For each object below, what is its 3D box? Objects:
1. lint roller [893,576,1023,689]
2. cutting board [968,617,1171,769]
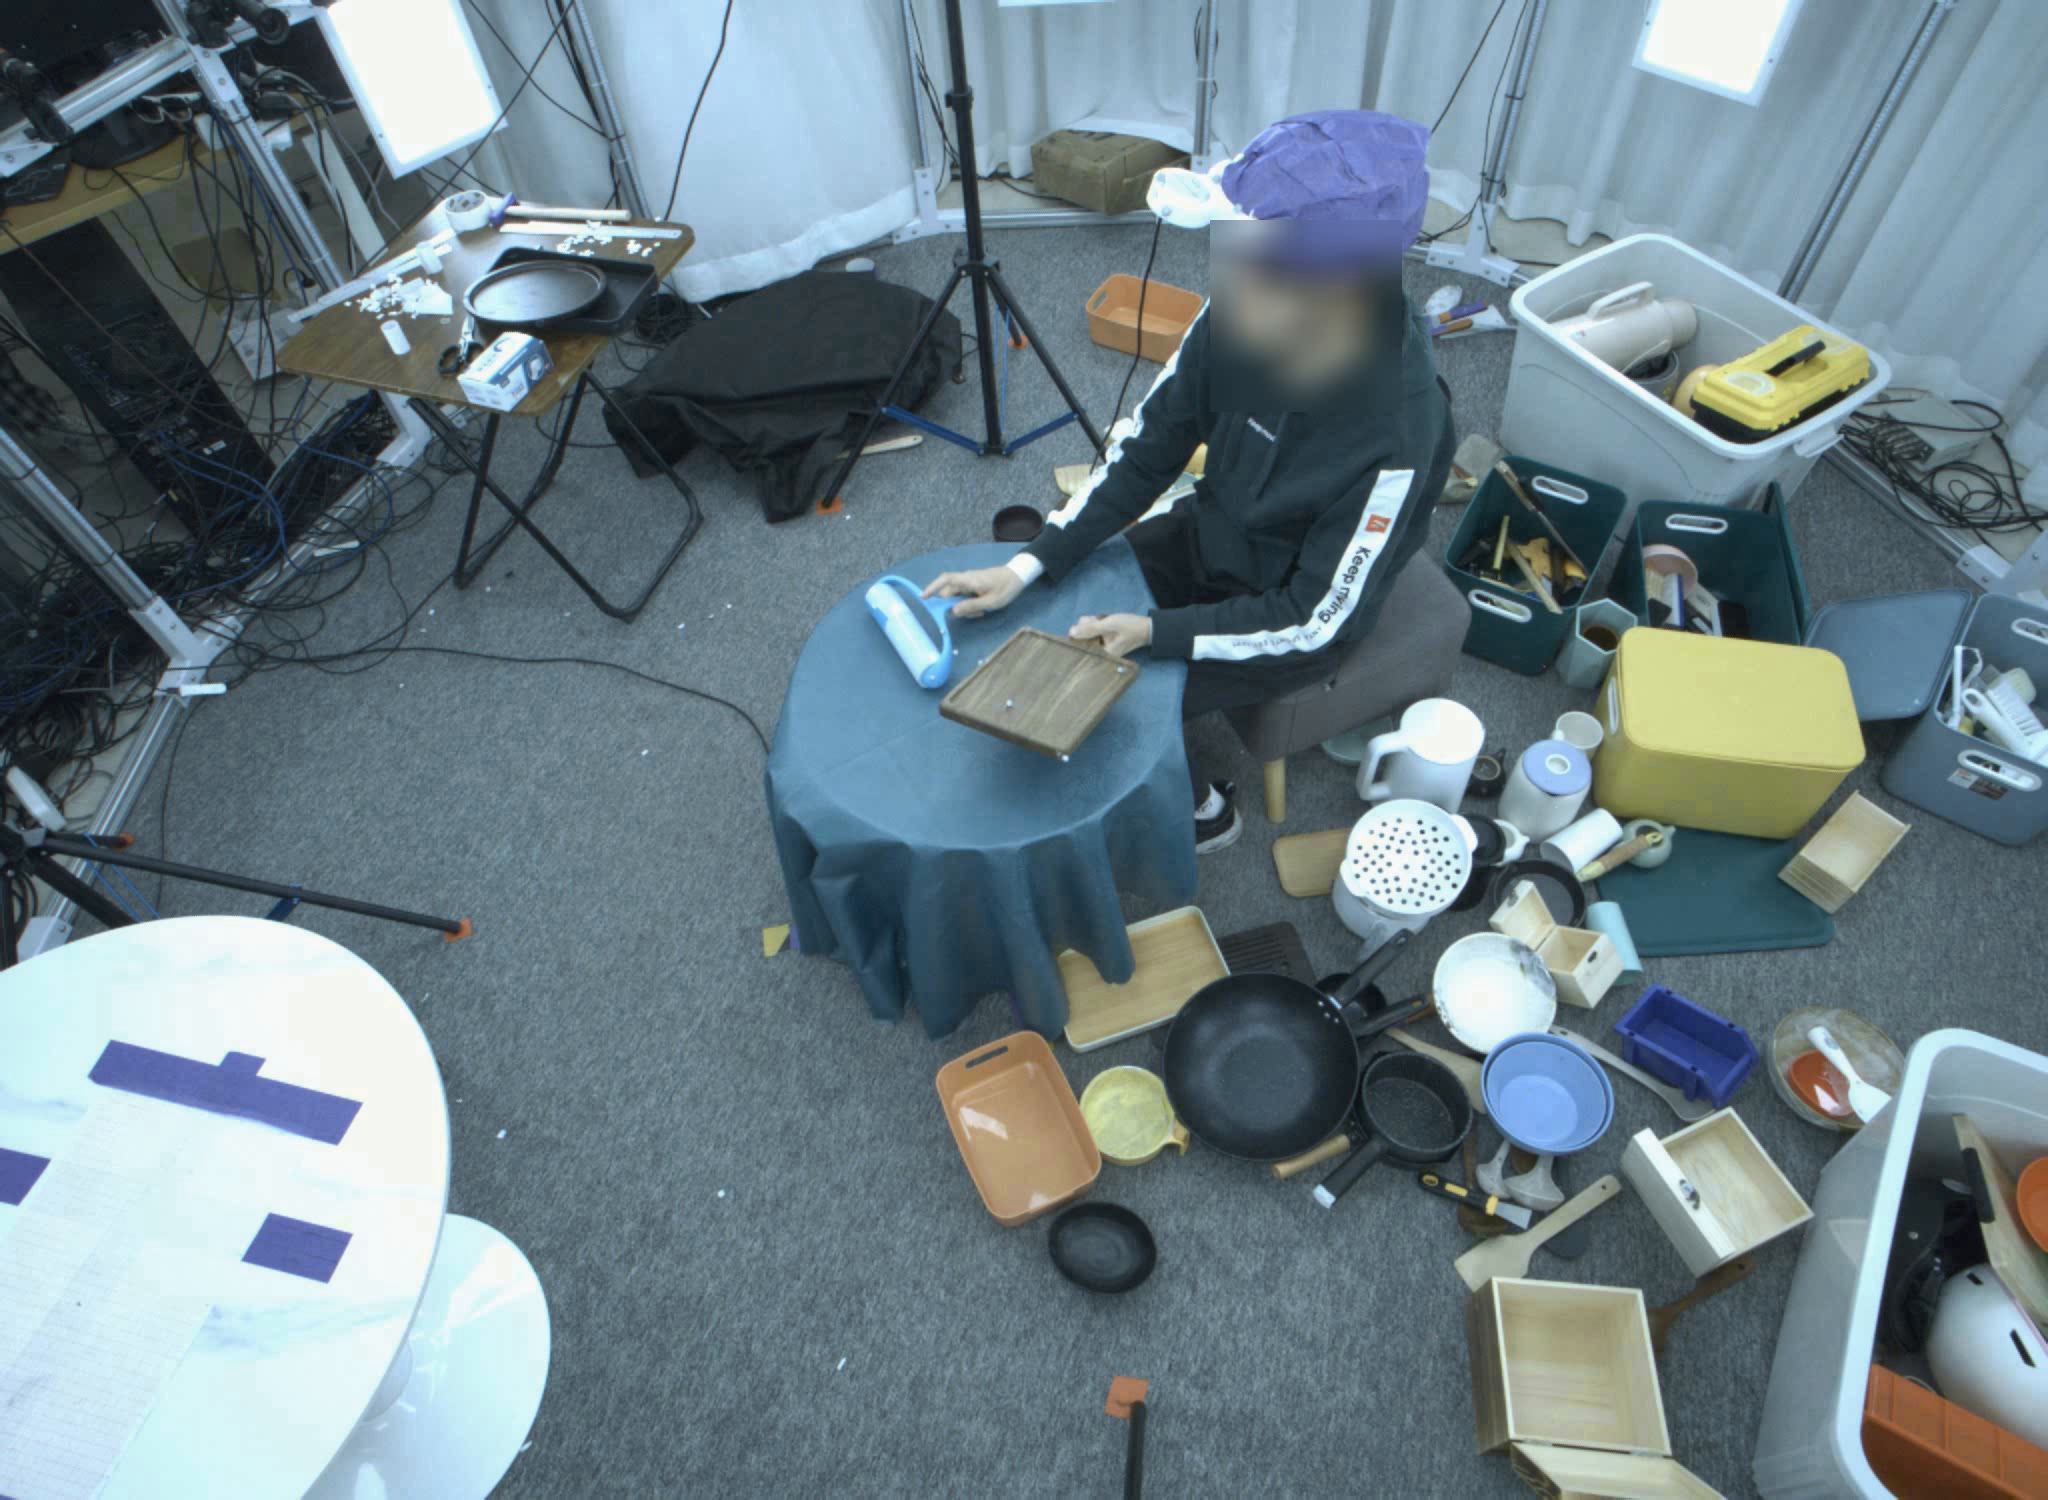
[{"bbox_3d":[-0.086,-0.204,1.895,0.181,0.069,0.224,-28,57,-15],"label":"lint roller"},{"bbox_3d":[0.091,-0.103,1.742,0.198,0.023,0.354,24,41,18],"label":"cutting board"}]
